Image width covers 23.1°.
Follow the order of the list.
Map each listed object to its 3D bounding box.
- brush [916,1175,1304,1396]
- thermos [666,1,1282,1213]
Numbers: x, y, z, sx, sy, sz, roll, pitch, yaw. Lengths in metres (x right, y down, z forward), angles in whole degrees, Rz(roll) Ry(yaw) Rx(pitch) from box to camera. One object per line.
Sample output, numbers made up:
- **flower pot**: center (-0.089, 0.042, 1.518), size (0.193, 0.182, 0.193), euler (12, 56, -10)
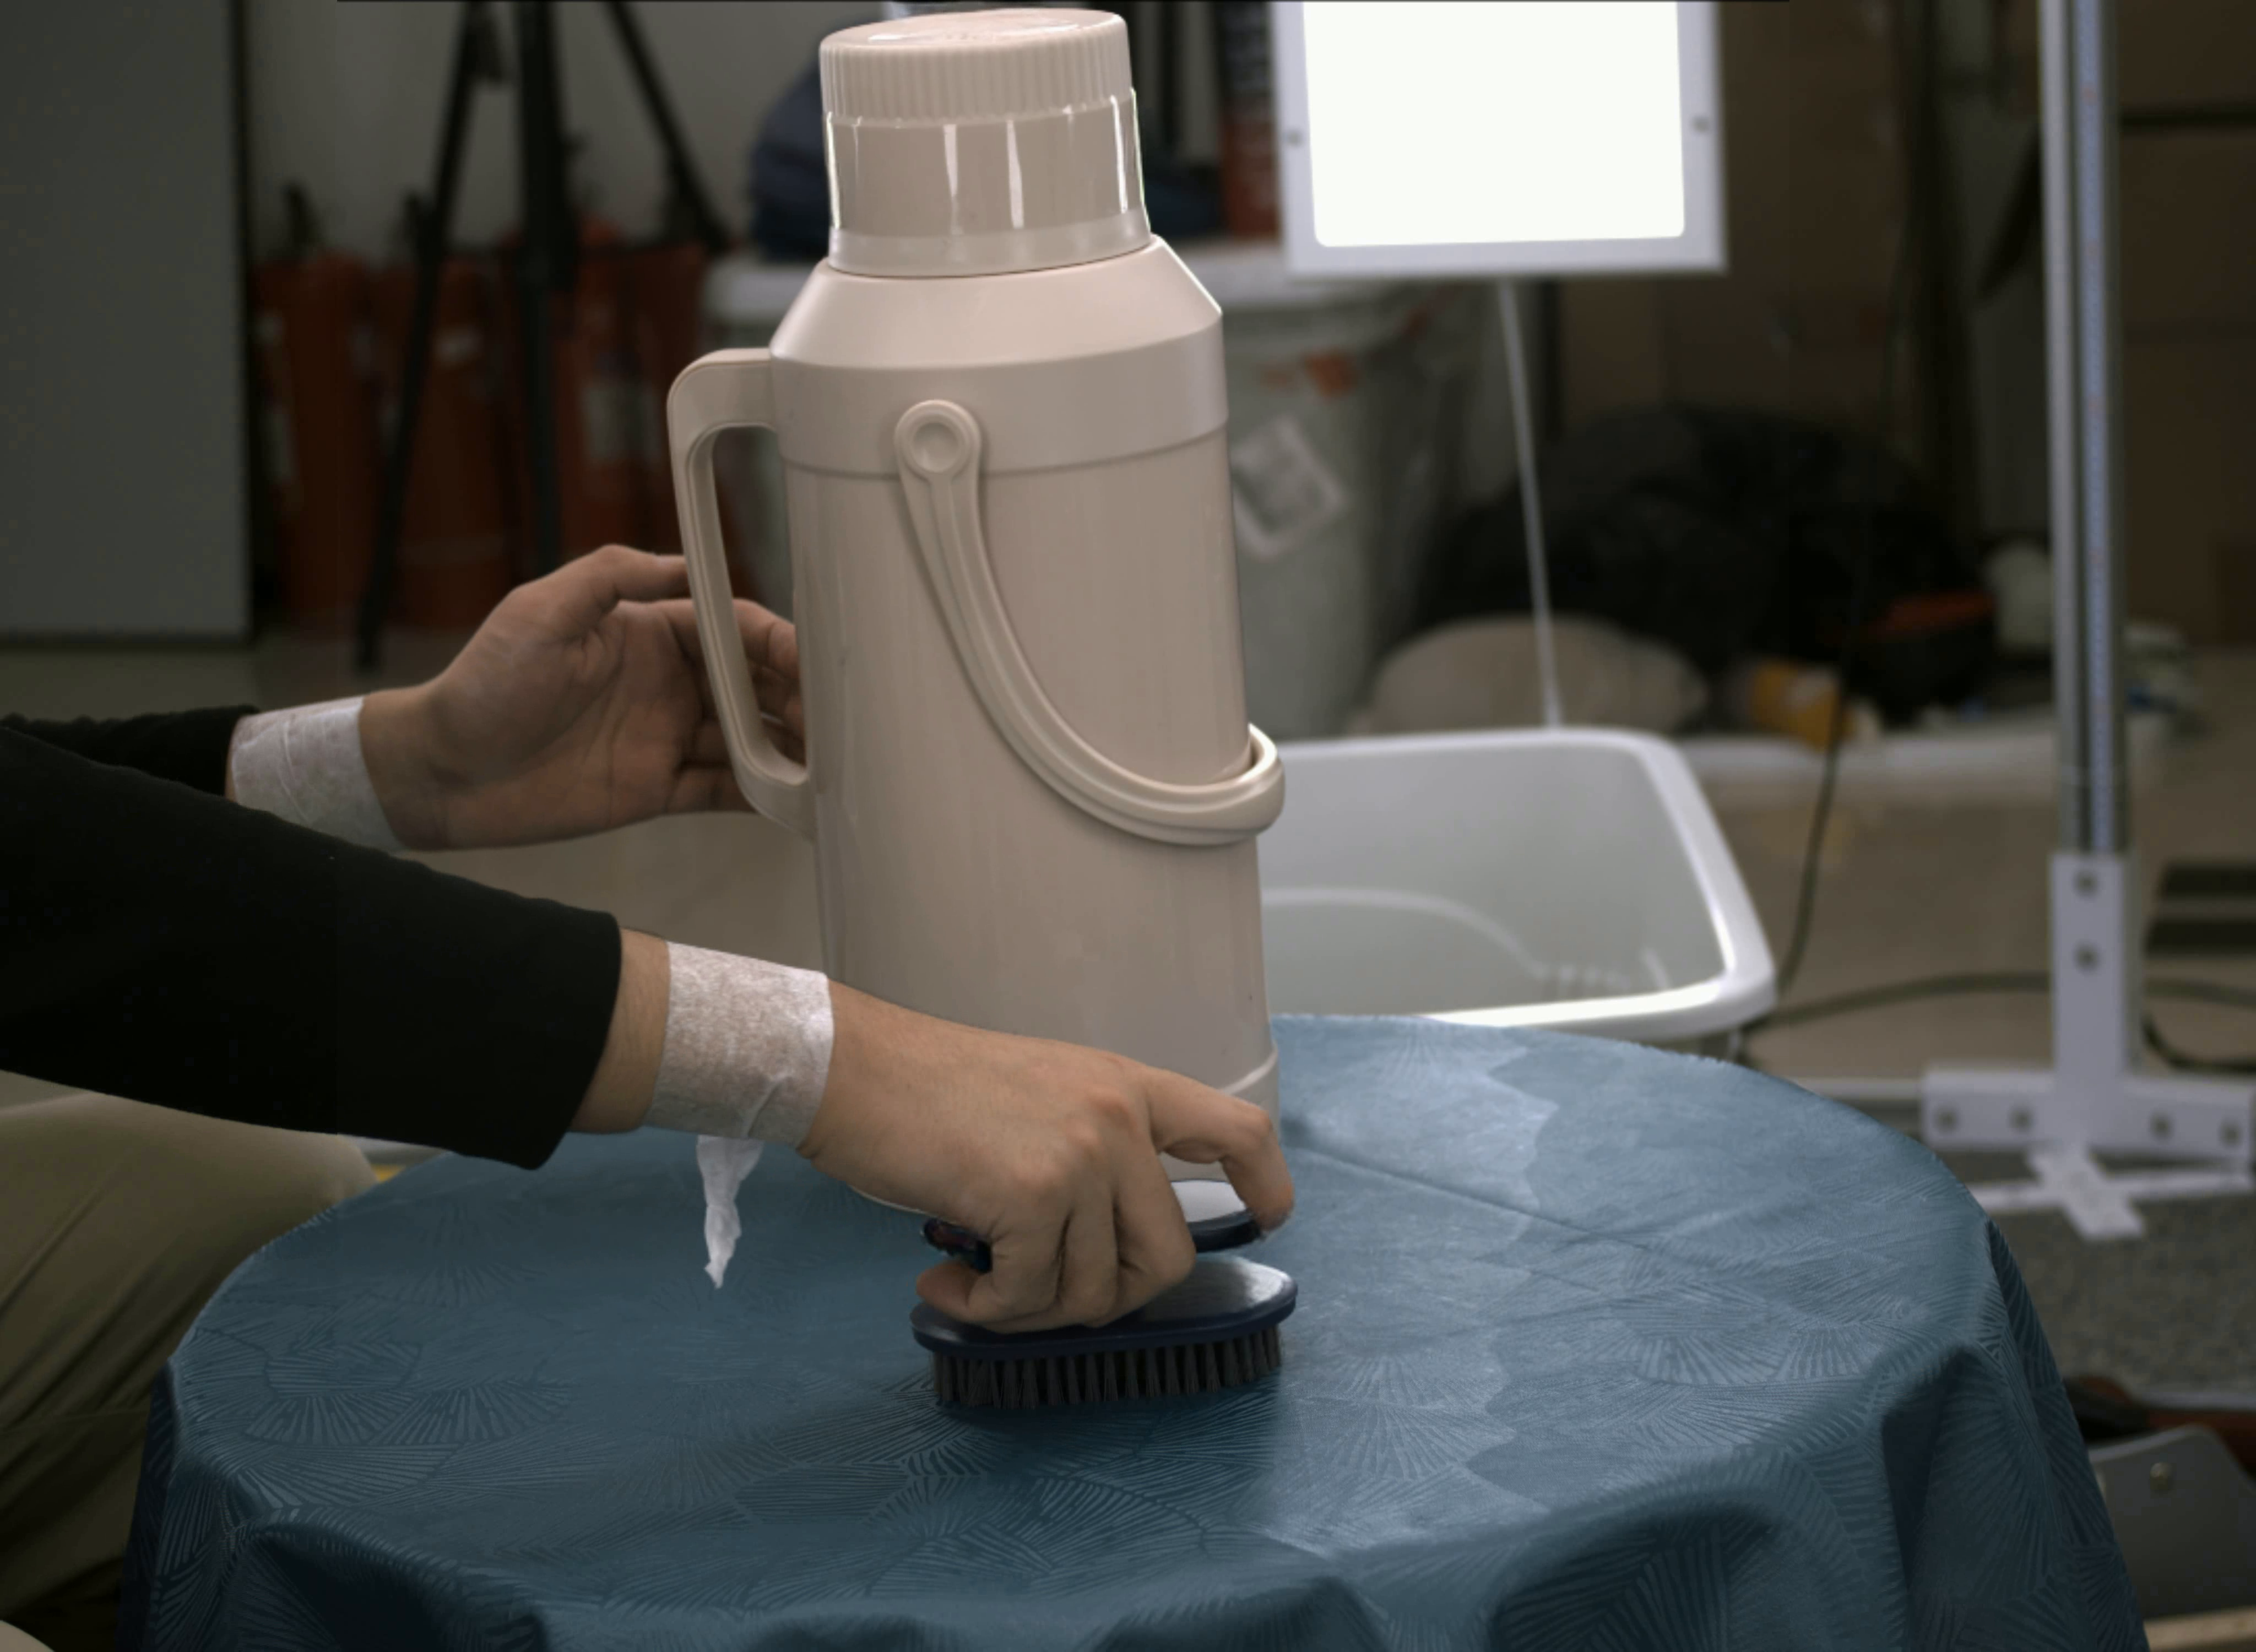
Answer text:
- **brush**: center (-0.005, 0.145, 1.711), size (0.121, 0.061, 0.068), euler (-4, 11, 1)
- **thermos**: center (-0.053, -0.077, 1.911), size (0.209, 0.408, 0.173), euler (0, 16, 14)
